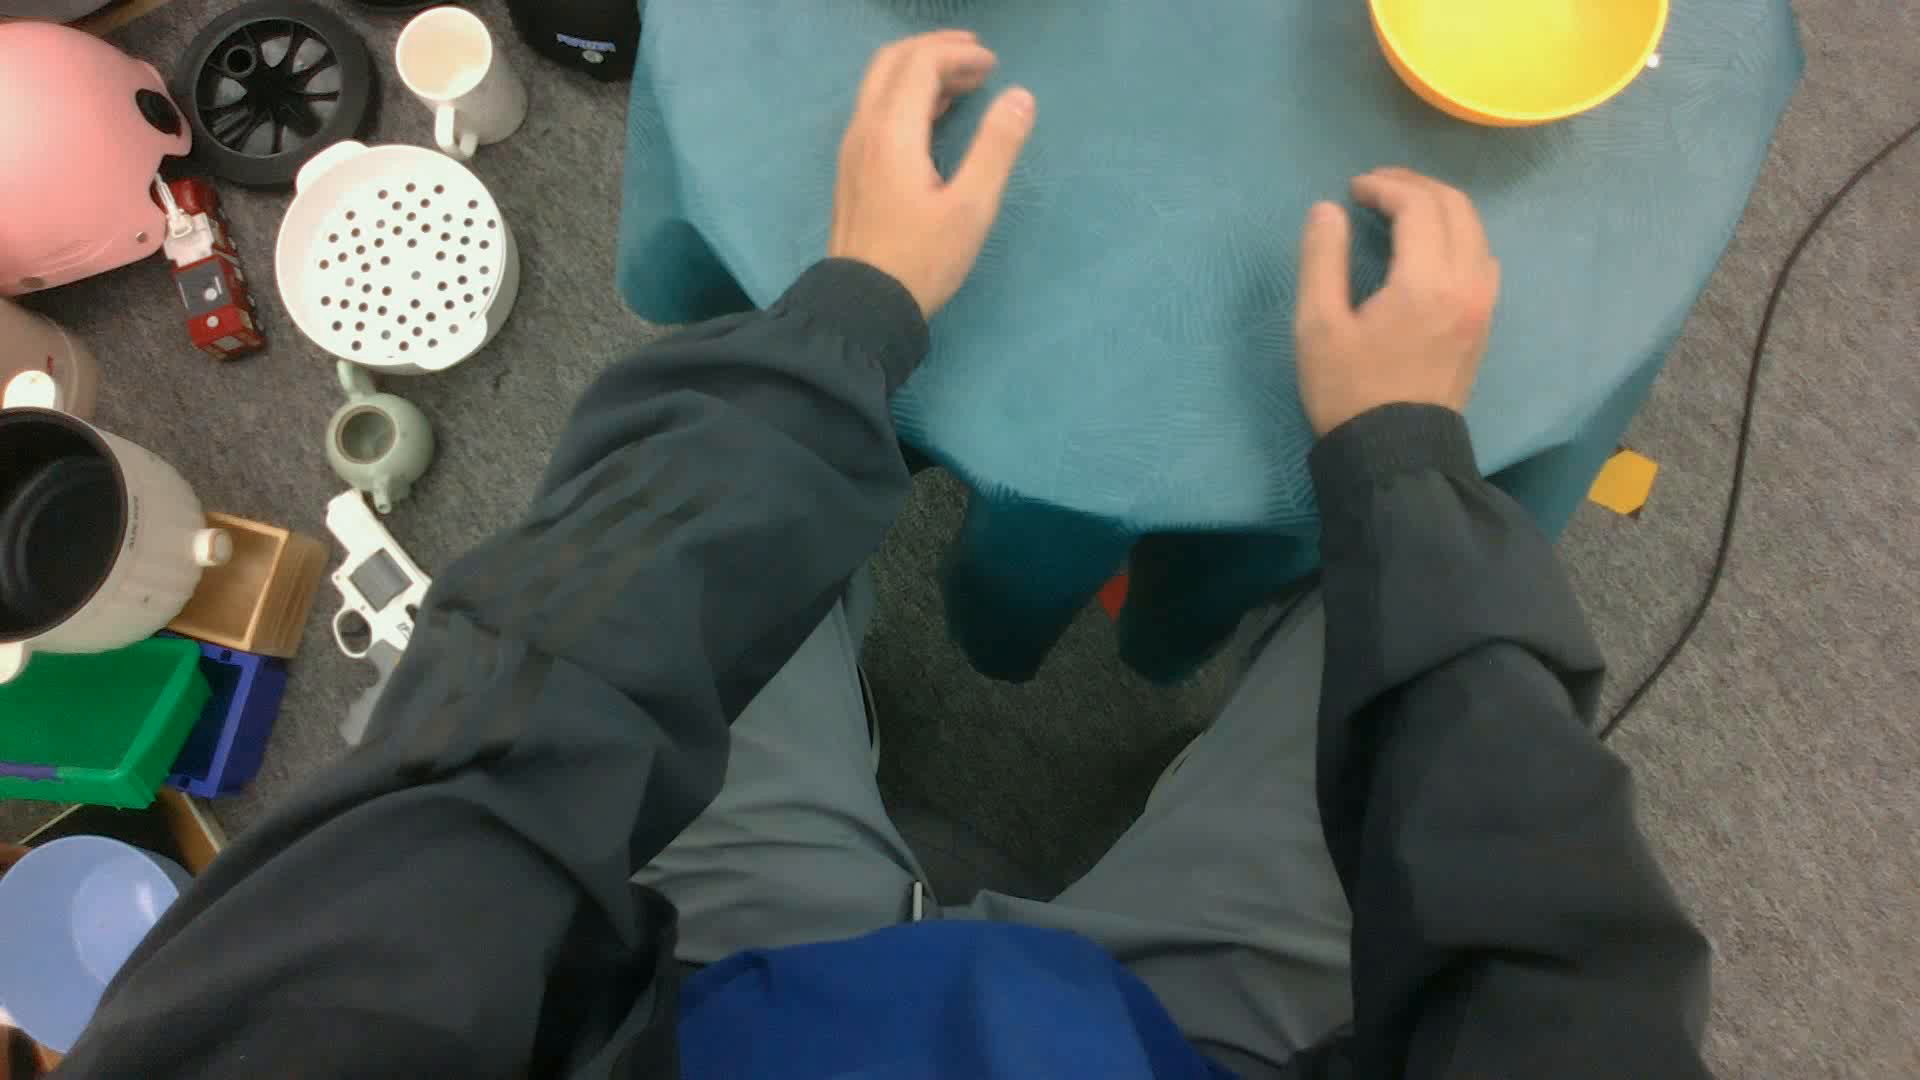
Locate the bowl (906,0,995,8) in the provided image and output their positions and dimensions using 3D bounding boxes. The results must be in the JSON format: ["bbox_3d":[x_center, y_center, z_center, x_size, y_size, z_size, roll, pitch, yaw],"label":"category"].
[{"bbox_3d":[-0.019,-0.353,0.719,0.179,0.074,0.153,-14,83,-3],"label":"bowl"}]

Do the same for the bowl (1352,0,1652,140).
[{"bbox_3d":[0.269,-0.263,0.706,0.145,0.060,0.145,-1,80,3],"label":"bowl"}]
